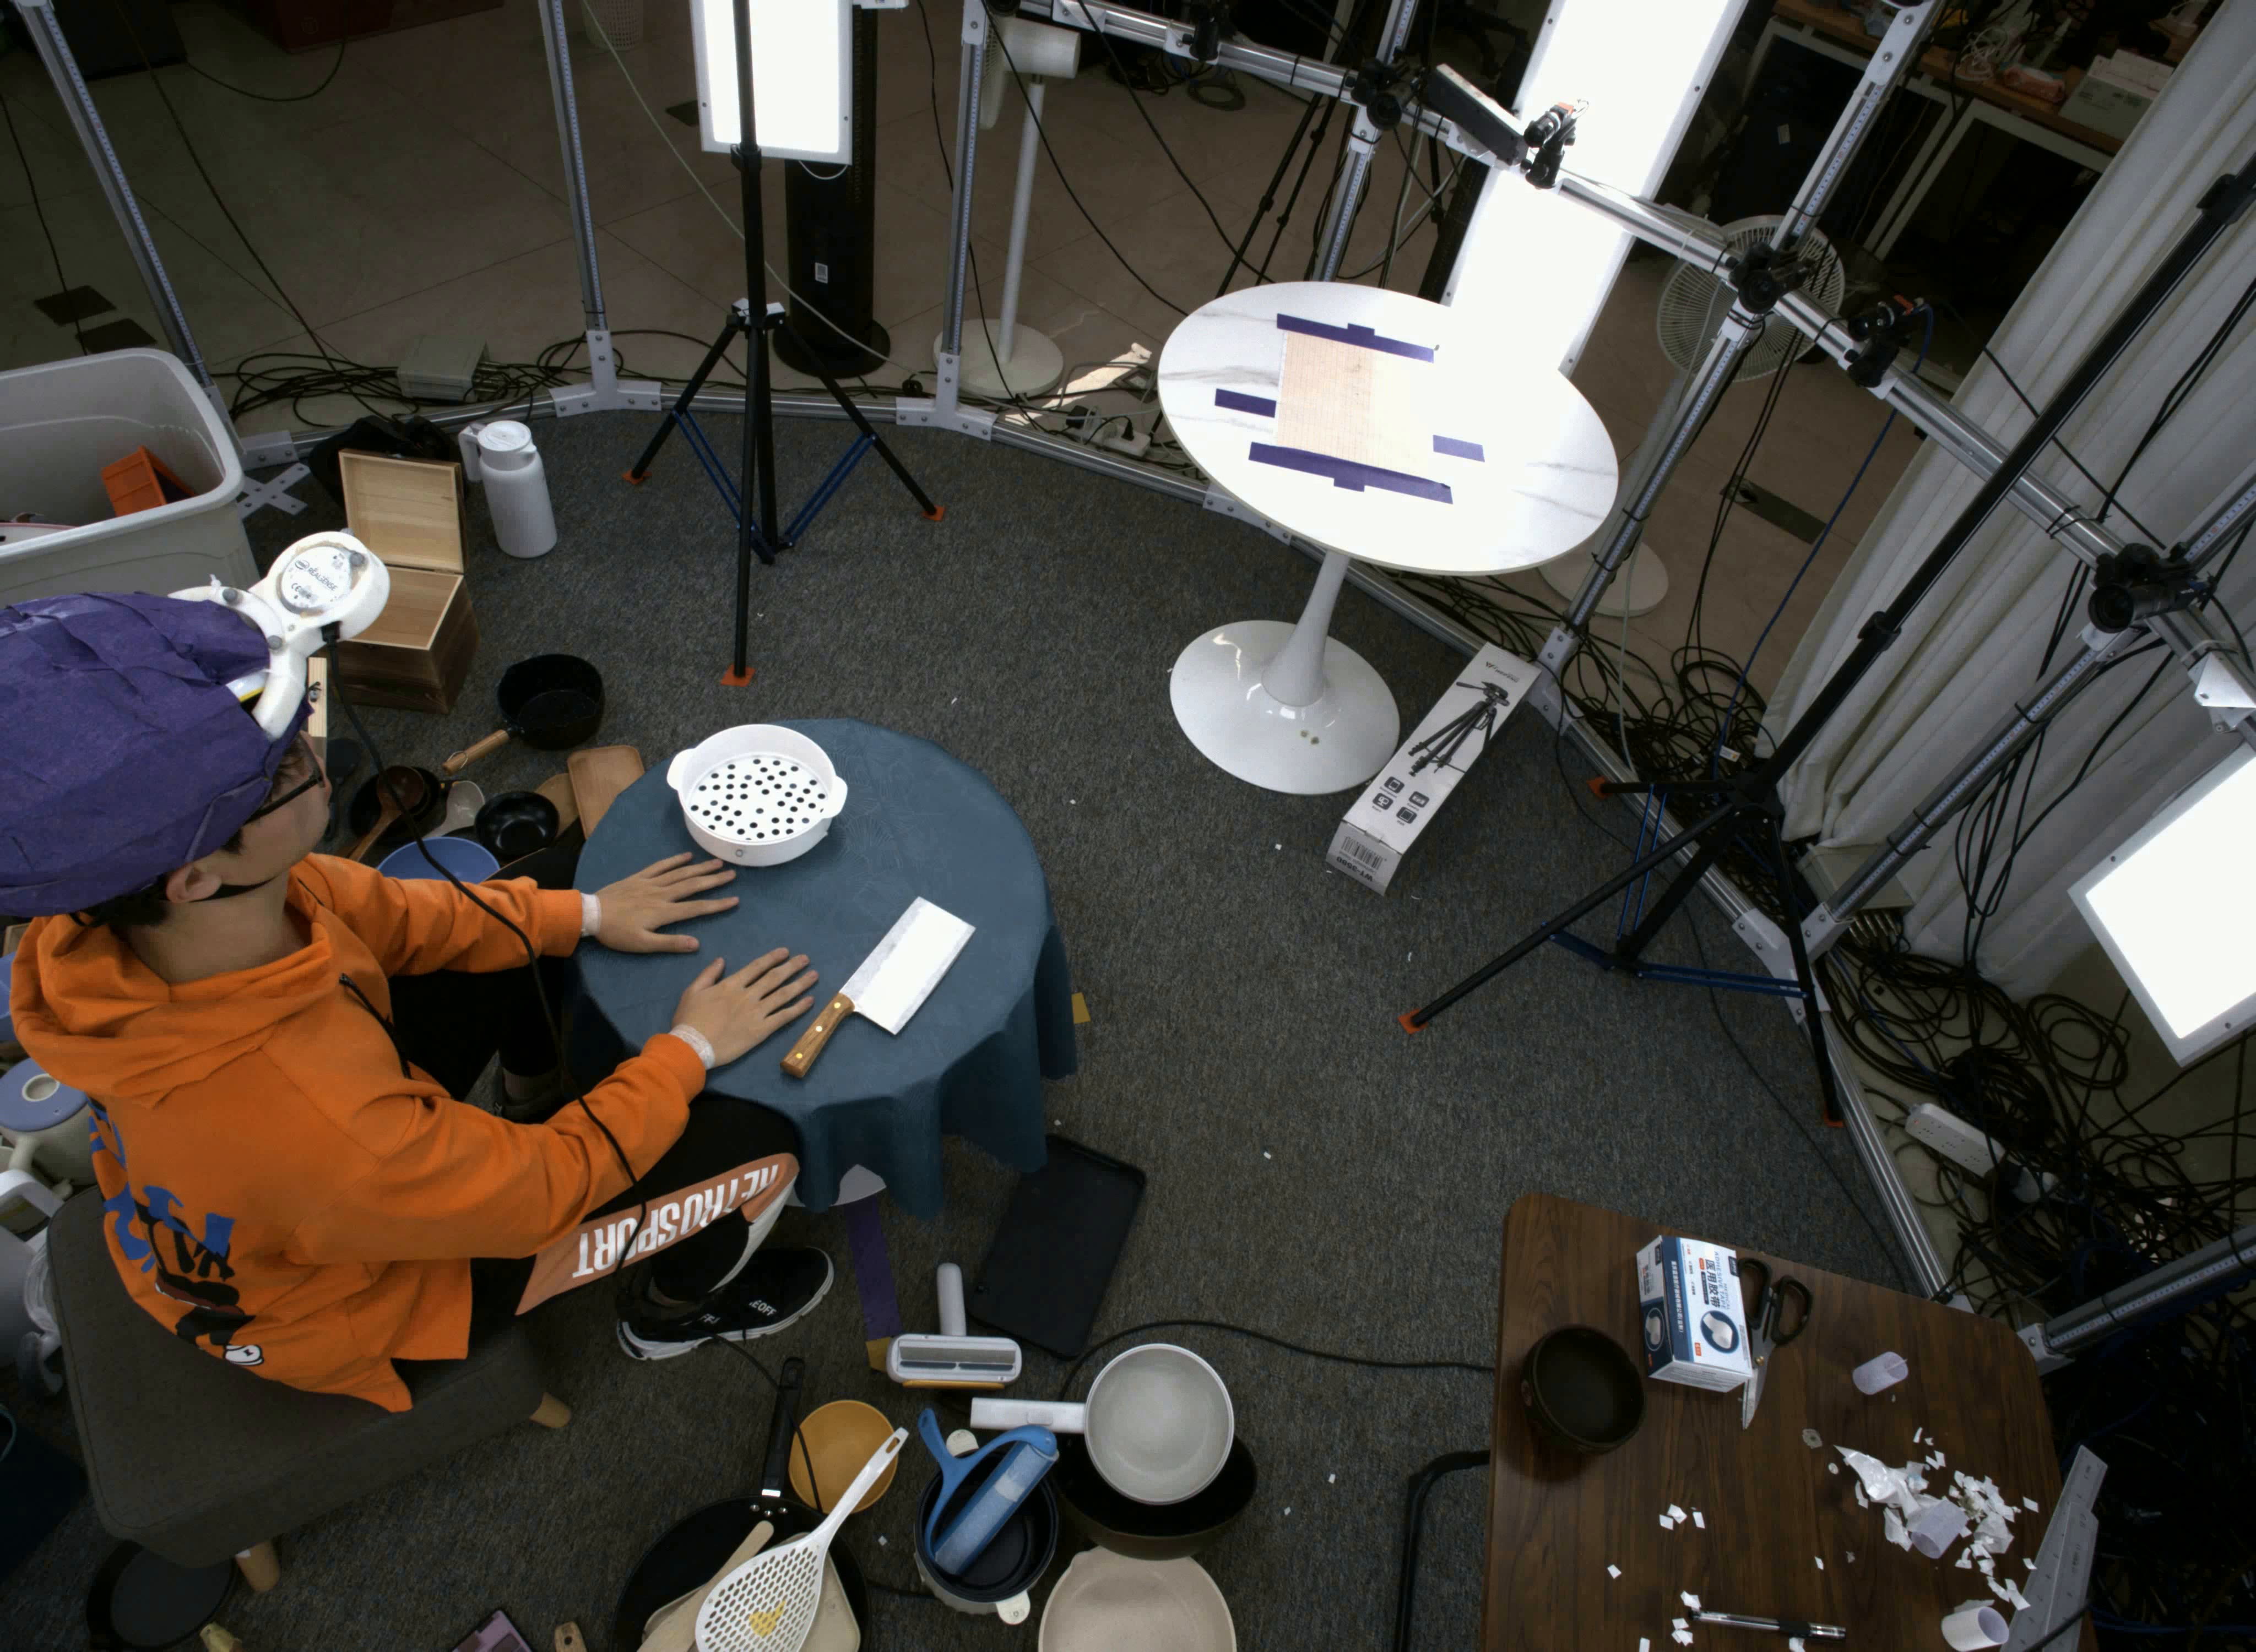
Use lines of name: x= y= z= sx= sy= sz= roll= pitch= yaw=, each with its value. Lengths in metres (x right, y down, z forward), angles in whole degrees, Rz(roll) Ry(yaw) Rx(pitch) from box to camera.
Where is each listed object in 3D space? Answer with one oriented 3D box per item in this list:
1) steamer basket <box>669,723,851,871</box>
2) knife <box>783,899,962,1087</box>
steamer basket: x=-0.478 y=-0.039 z=1.683 sx=0.230 sy=0.070 sz=0.198 roll=12 pitch=52 yaw=-9
knife: x=-0.301 y=0.205 z=1.584 sx=0.092 sy=0.021 sz=0.304 roll=29 pitch=50 yaw=6
